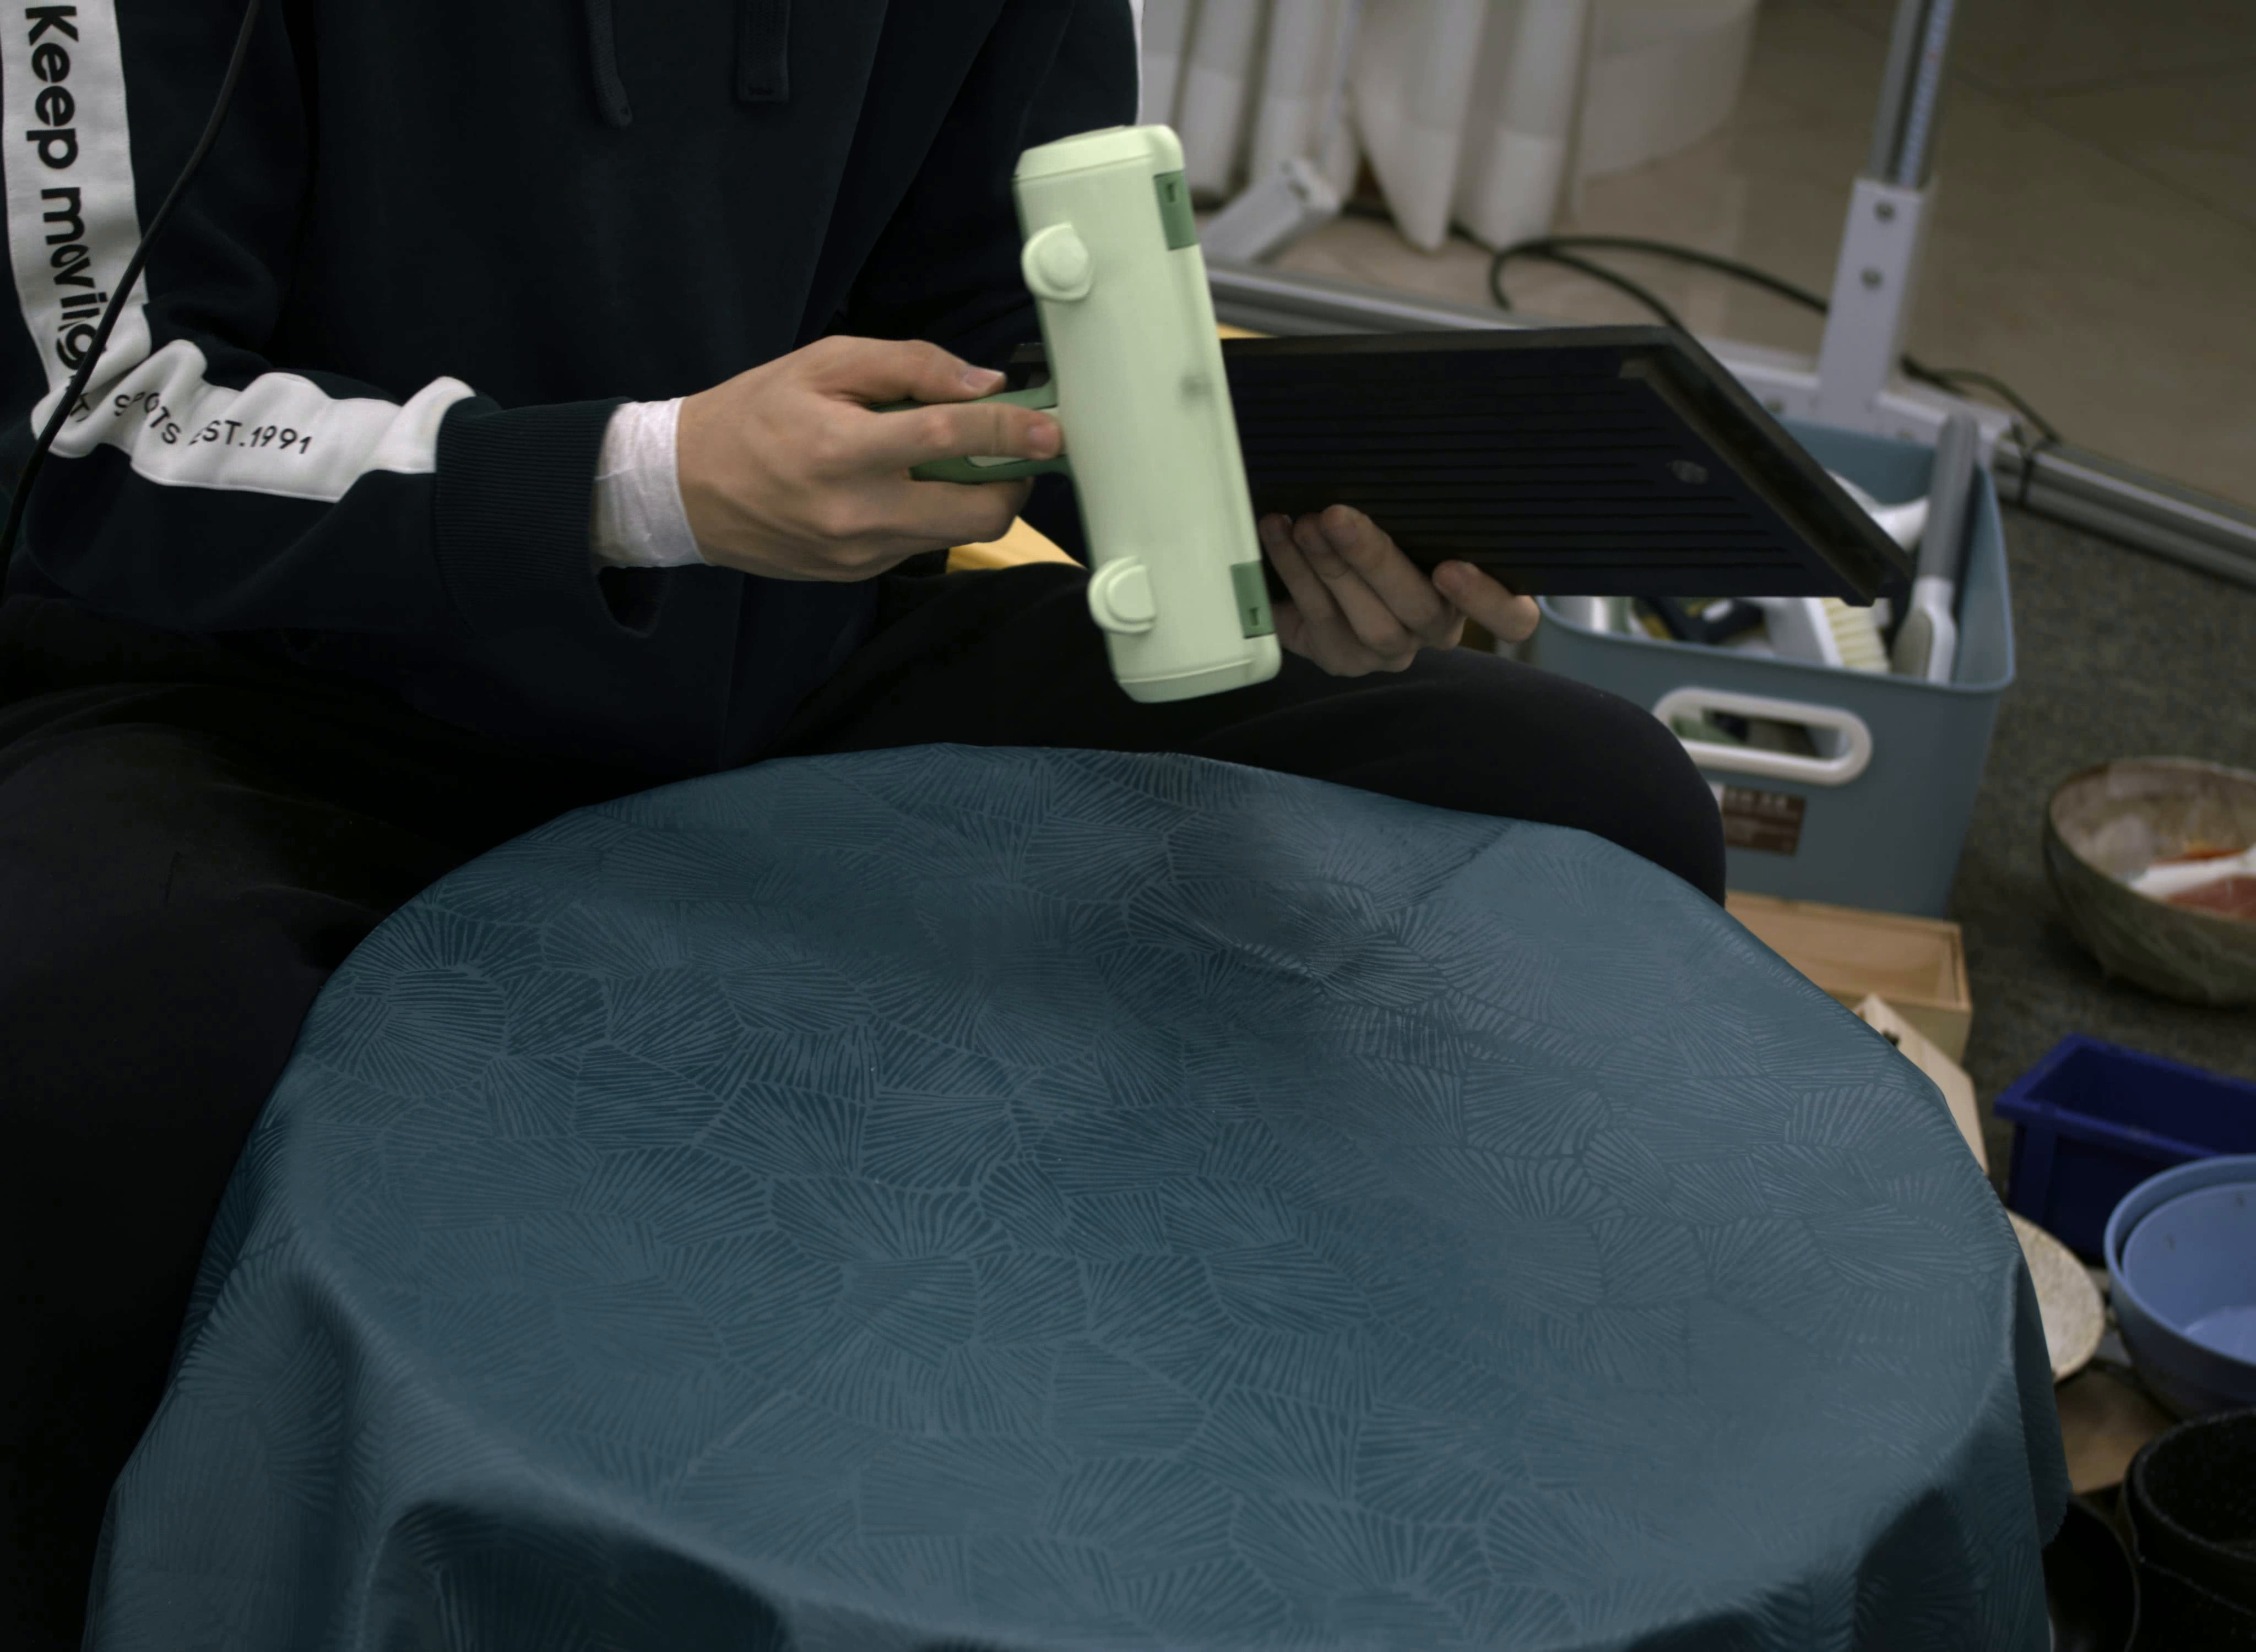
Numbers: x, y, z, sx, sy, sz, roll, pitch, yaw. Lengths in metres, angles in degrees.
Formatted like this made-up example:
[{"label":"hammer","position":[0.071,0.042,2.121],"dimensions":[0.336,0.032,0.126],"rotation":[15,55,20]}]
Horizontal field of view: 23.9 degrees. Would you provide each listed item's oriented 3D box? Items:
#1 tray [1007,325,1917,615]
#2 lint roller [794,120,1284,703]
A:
[{"label":"tray","position":[0.112,-0.120,1.868],"dimensions":[0.307,0.019,0.168],"rotation":[2,-27,42]},{"label":"lint roller","position":[-0.047,-0.133,1.848],"dimensions":[0.183,0.198,0.082],"rotation":[-9,7,23]}]
